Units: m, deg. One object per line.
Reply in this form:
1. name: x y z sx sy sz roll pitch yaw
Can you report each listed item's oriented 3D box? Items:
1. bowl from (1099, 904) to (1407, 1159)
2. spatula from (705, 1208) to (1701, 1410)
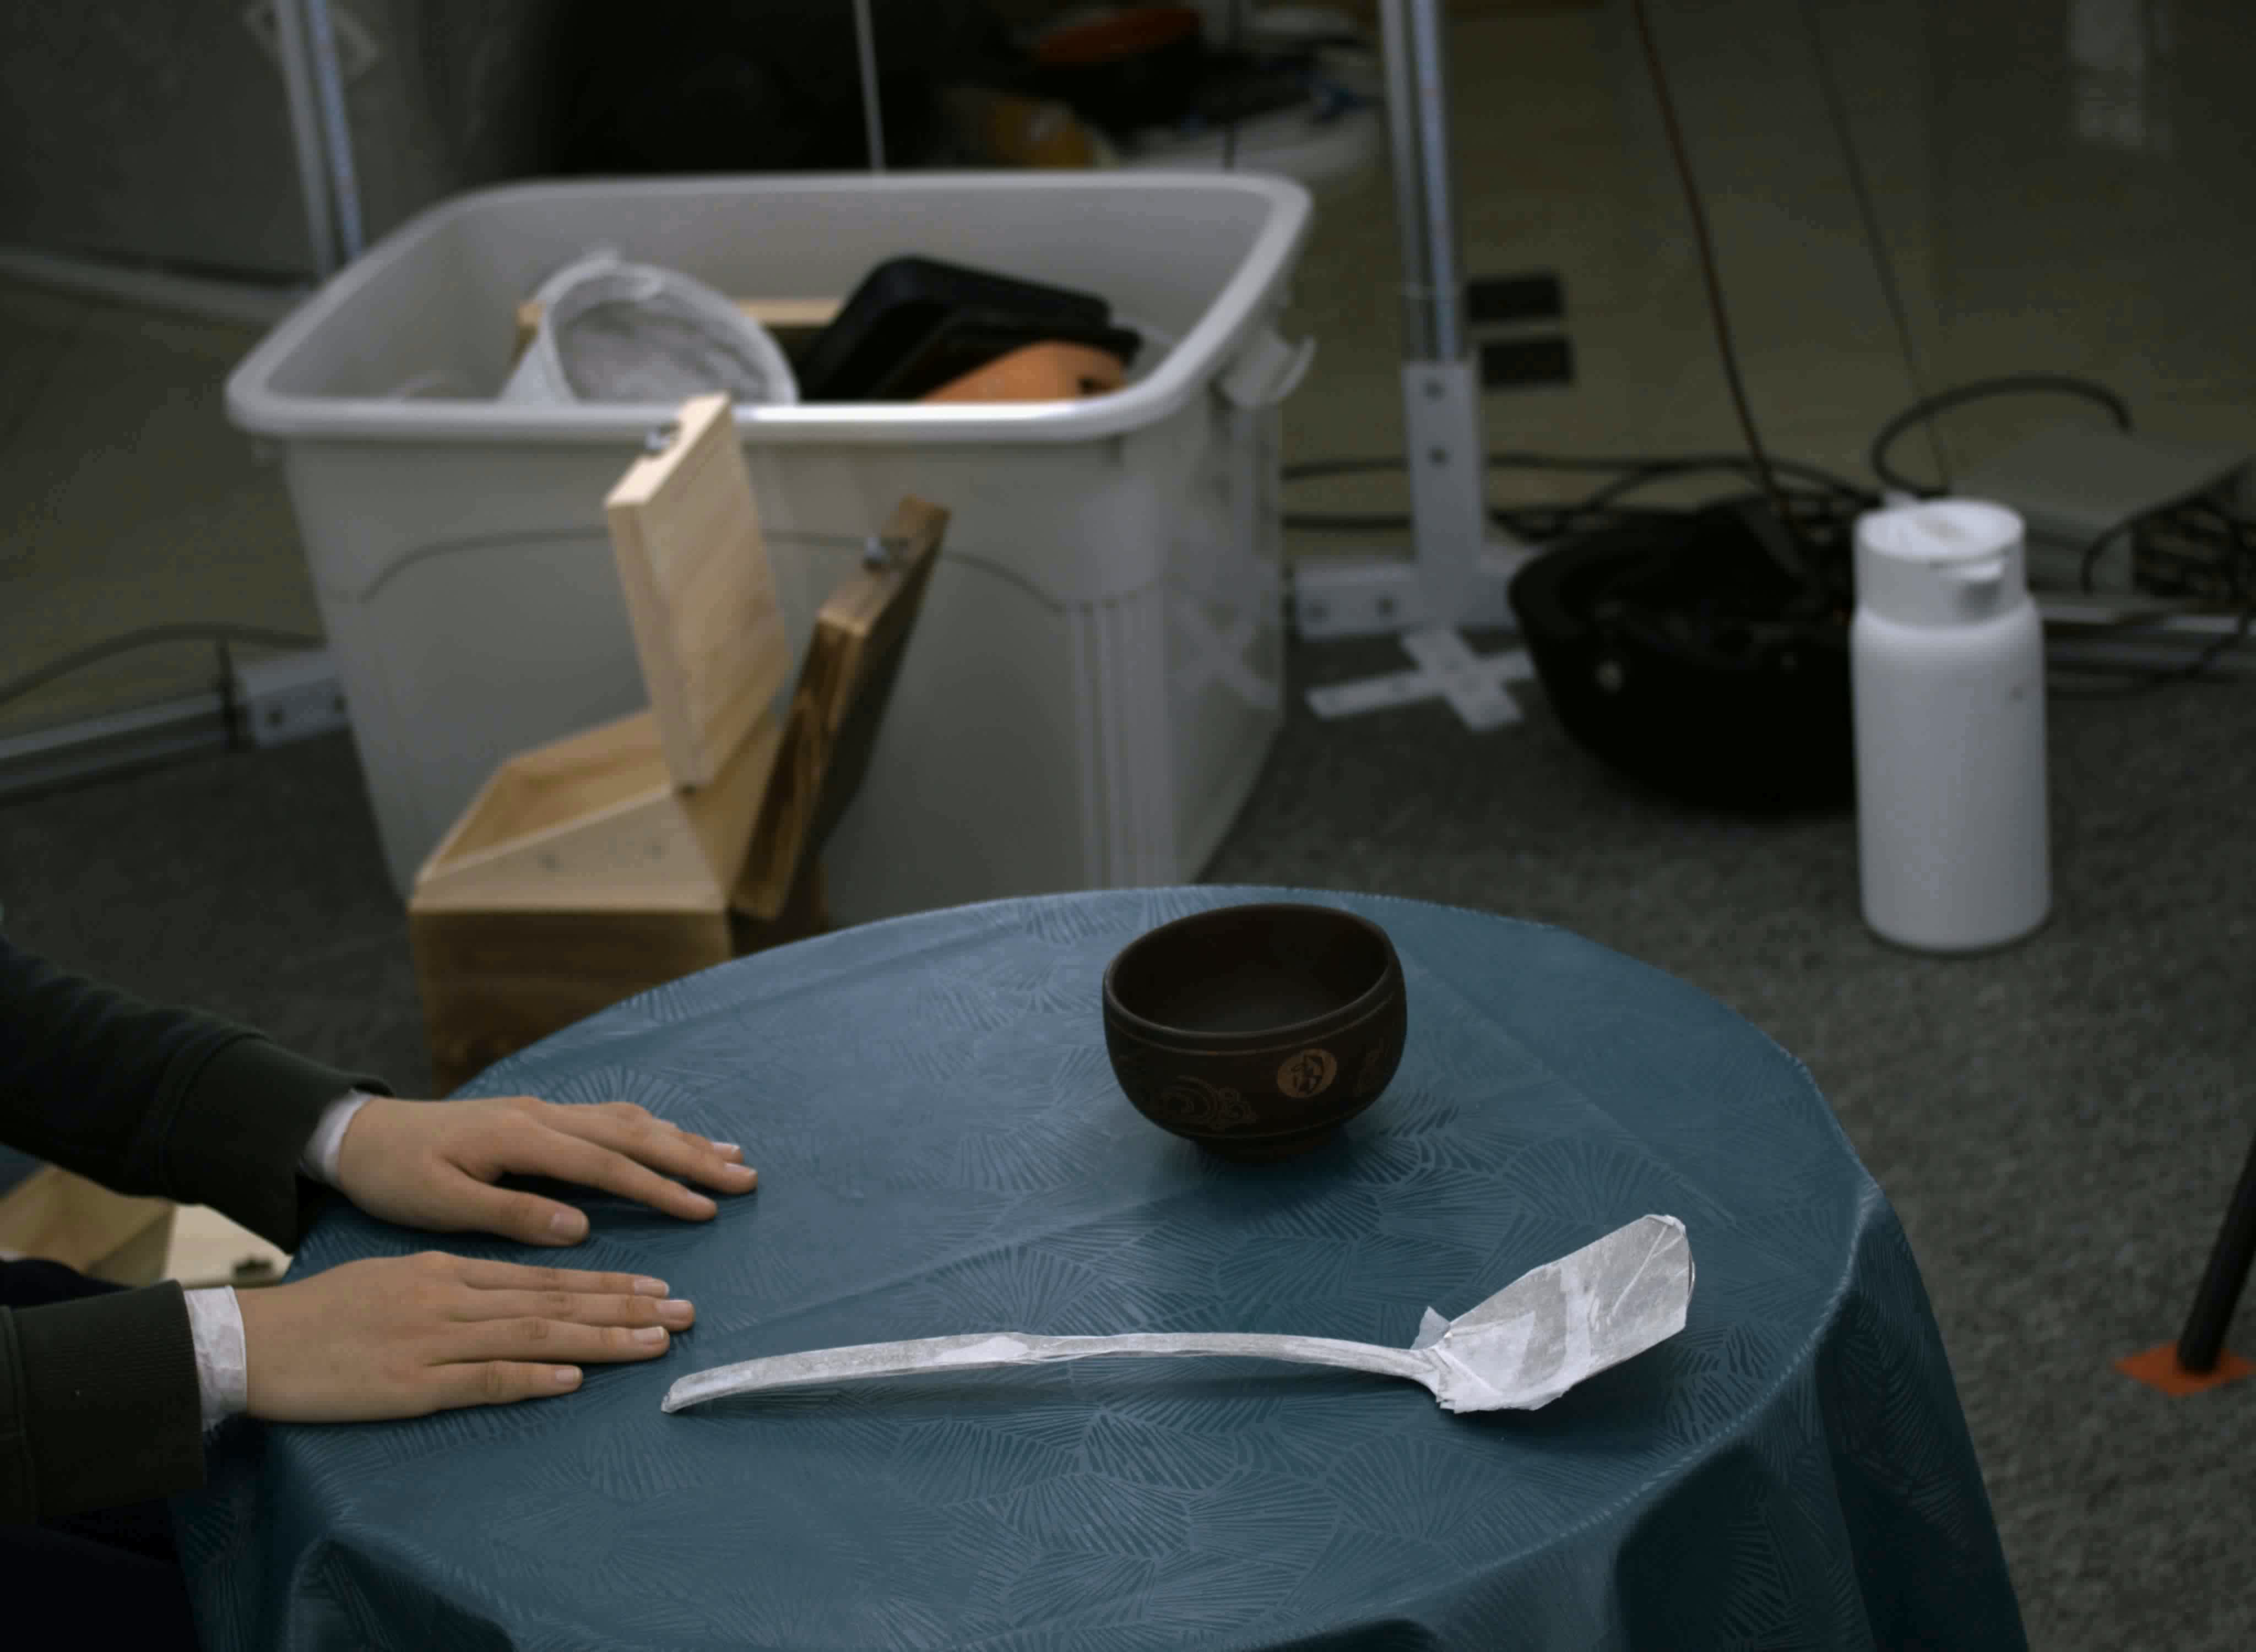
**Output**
1. bowl: 0.049 0.085 2.172 0.118 0.071 0.116 -6 23 3
2. spatula: 0.022 0.179 2.015 0.364 0.045 0.097 -2 27 9
